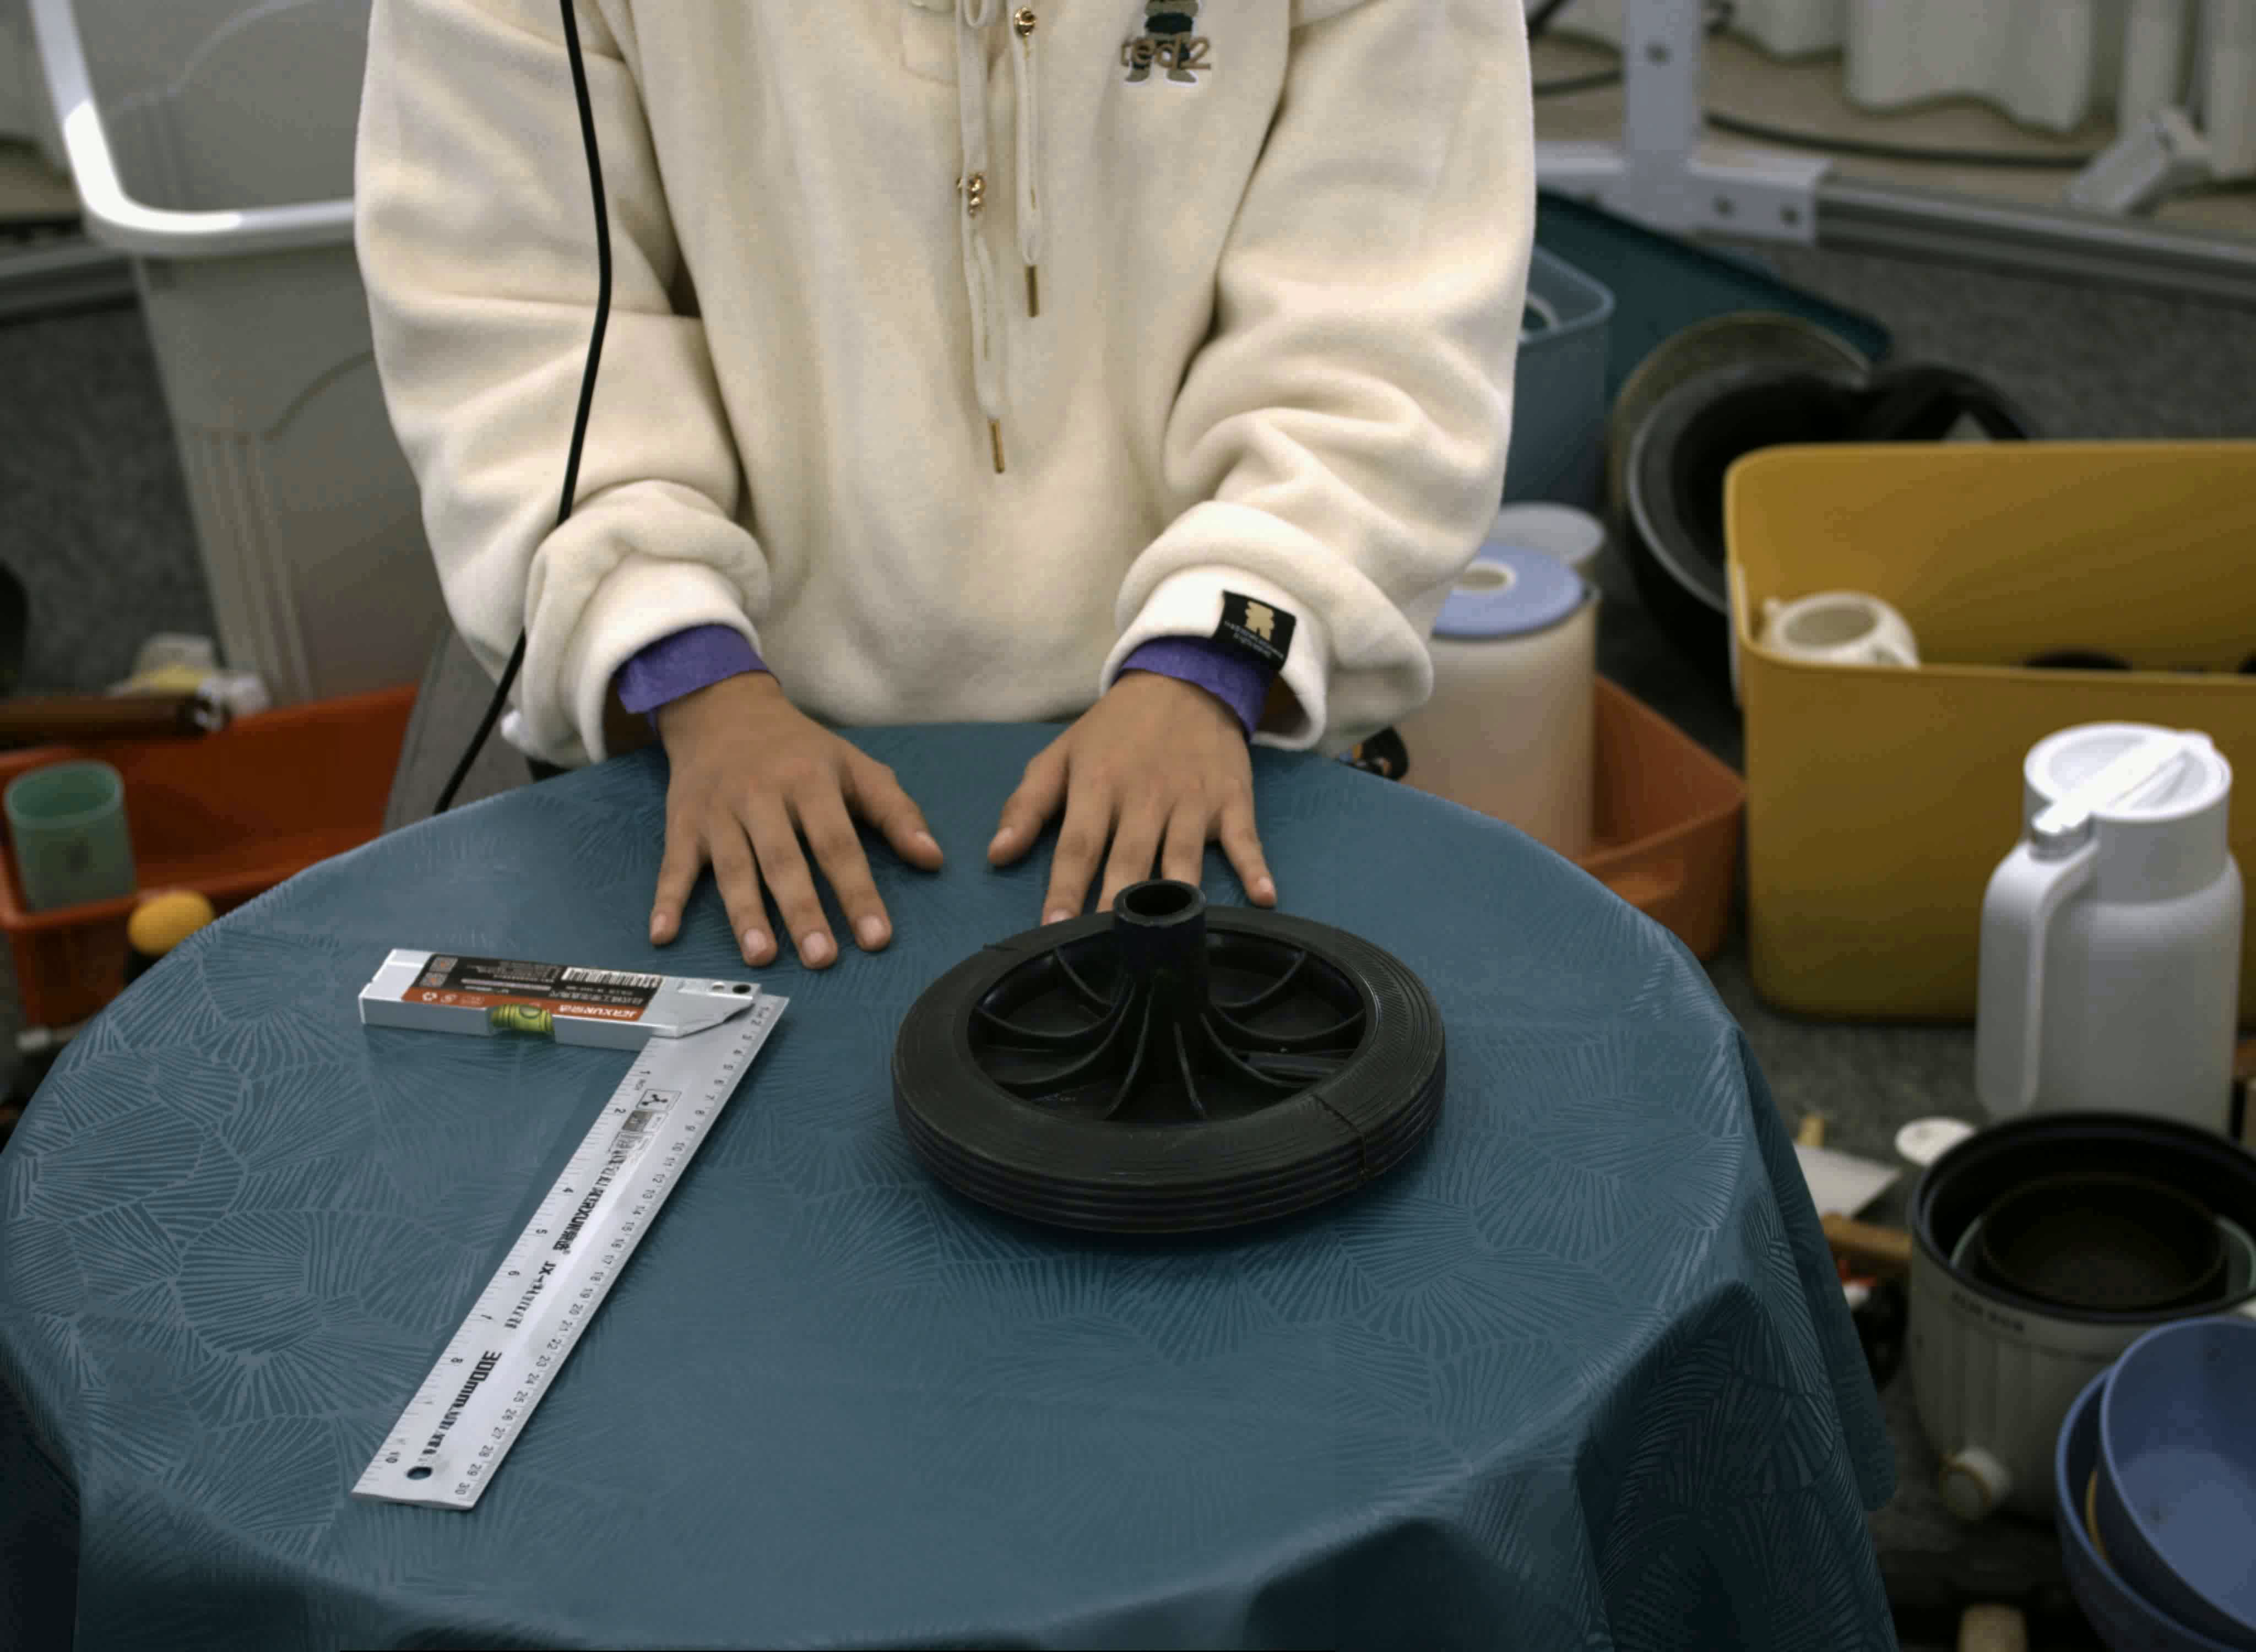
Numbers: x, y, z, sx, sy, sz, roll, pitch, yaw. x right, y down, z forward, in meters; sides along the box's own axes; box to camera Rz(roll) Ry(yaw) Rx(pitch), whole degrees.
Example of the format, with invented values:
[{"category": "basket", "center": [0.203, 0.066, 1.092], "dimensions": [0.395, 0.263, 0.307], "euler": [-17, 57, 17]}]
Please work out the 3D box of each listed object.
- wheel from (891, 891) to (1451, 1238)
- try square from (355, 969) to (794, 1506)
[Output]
[{"category": "wheel", "center": [0.013, 0.064, 1.890], "dimensions": [0.189, 0.078, 0.190], "euler": [-5, 27, -5]}, {"category": "try square", "center": [-0.229, 0.131, 1.864], "dimensions": [0.151, 0.016, 0.318], "euler": [2, 28, 17]}]
